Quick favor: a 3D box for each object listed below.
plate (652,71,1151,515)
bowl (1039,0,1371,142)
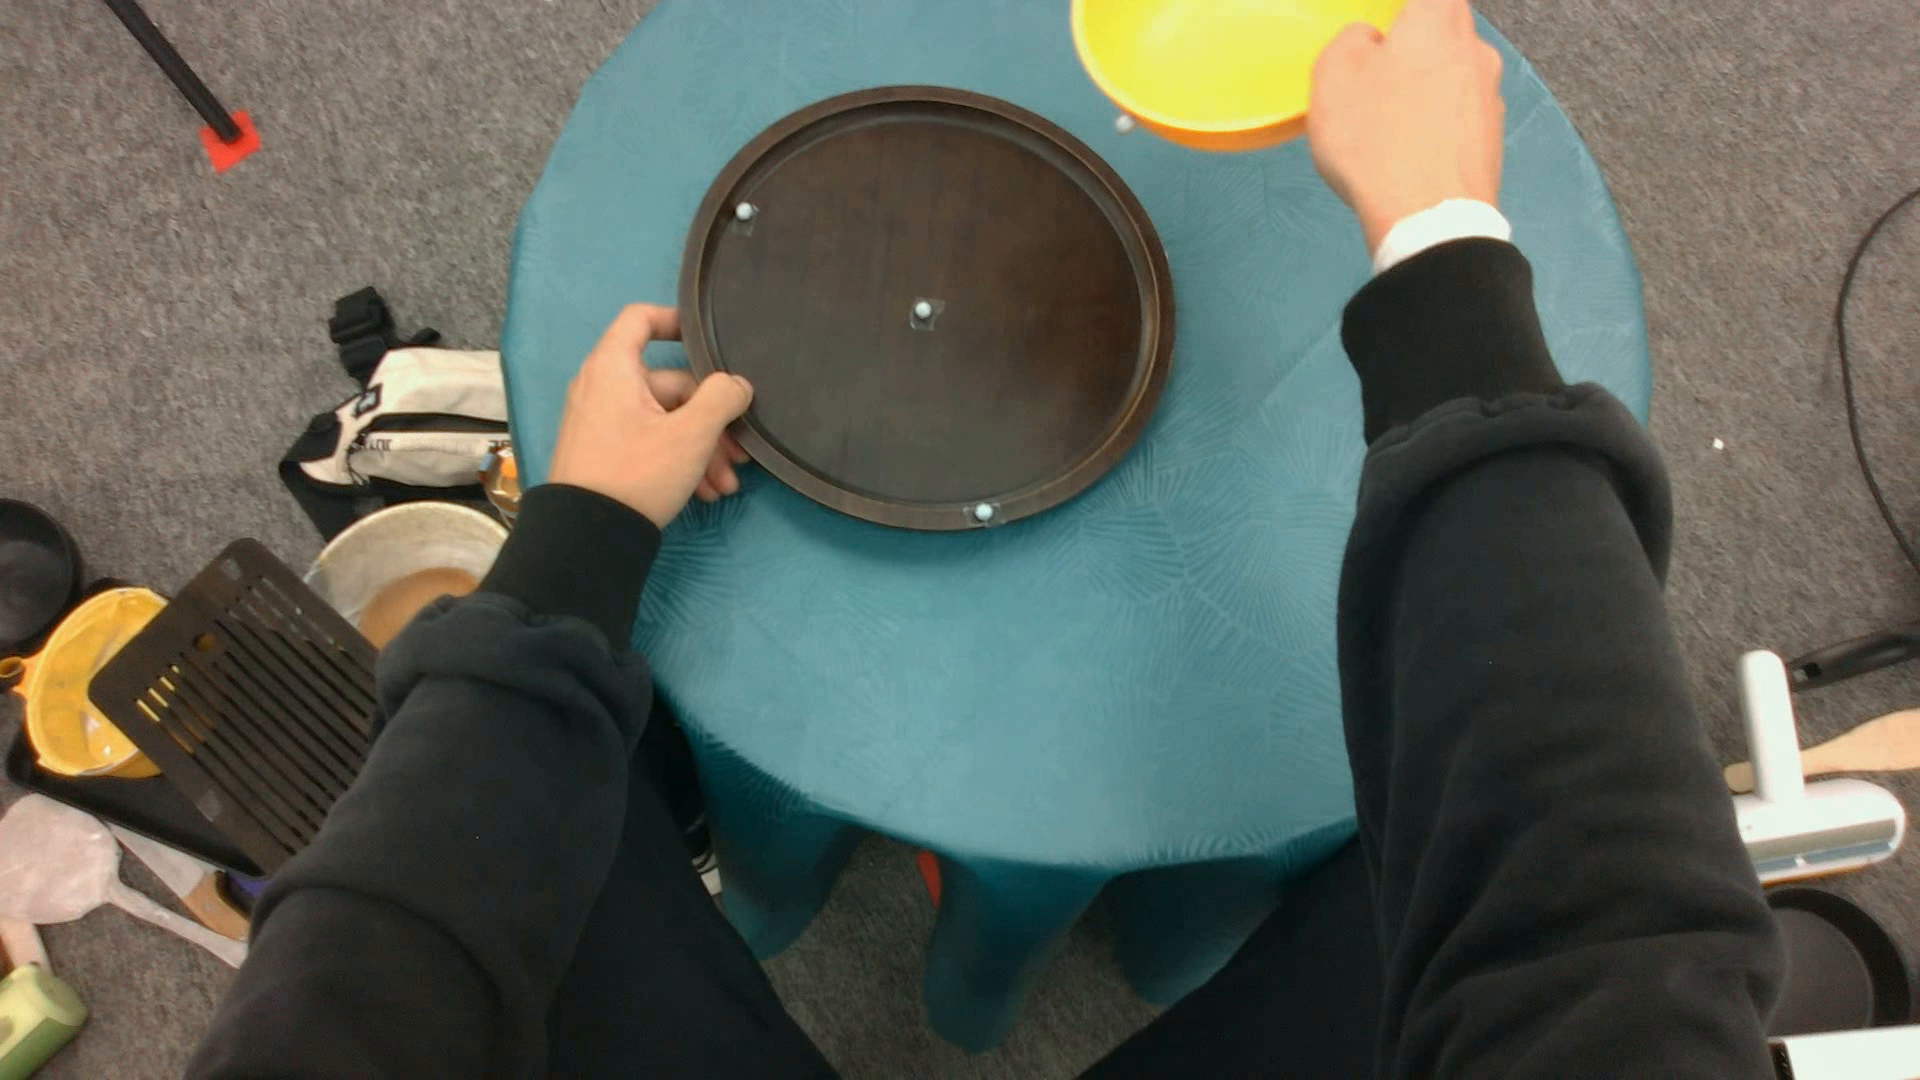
[{"bbox_3d":[-0.027,-0.129,0.699,0.255,0.029,0.255,3,71,-9],"label":"plate"},{"bbox_3d":[0.112,-0.231,0.607,0.145,0.060,0.145,-5,73,18],"label":"bowl"}]
